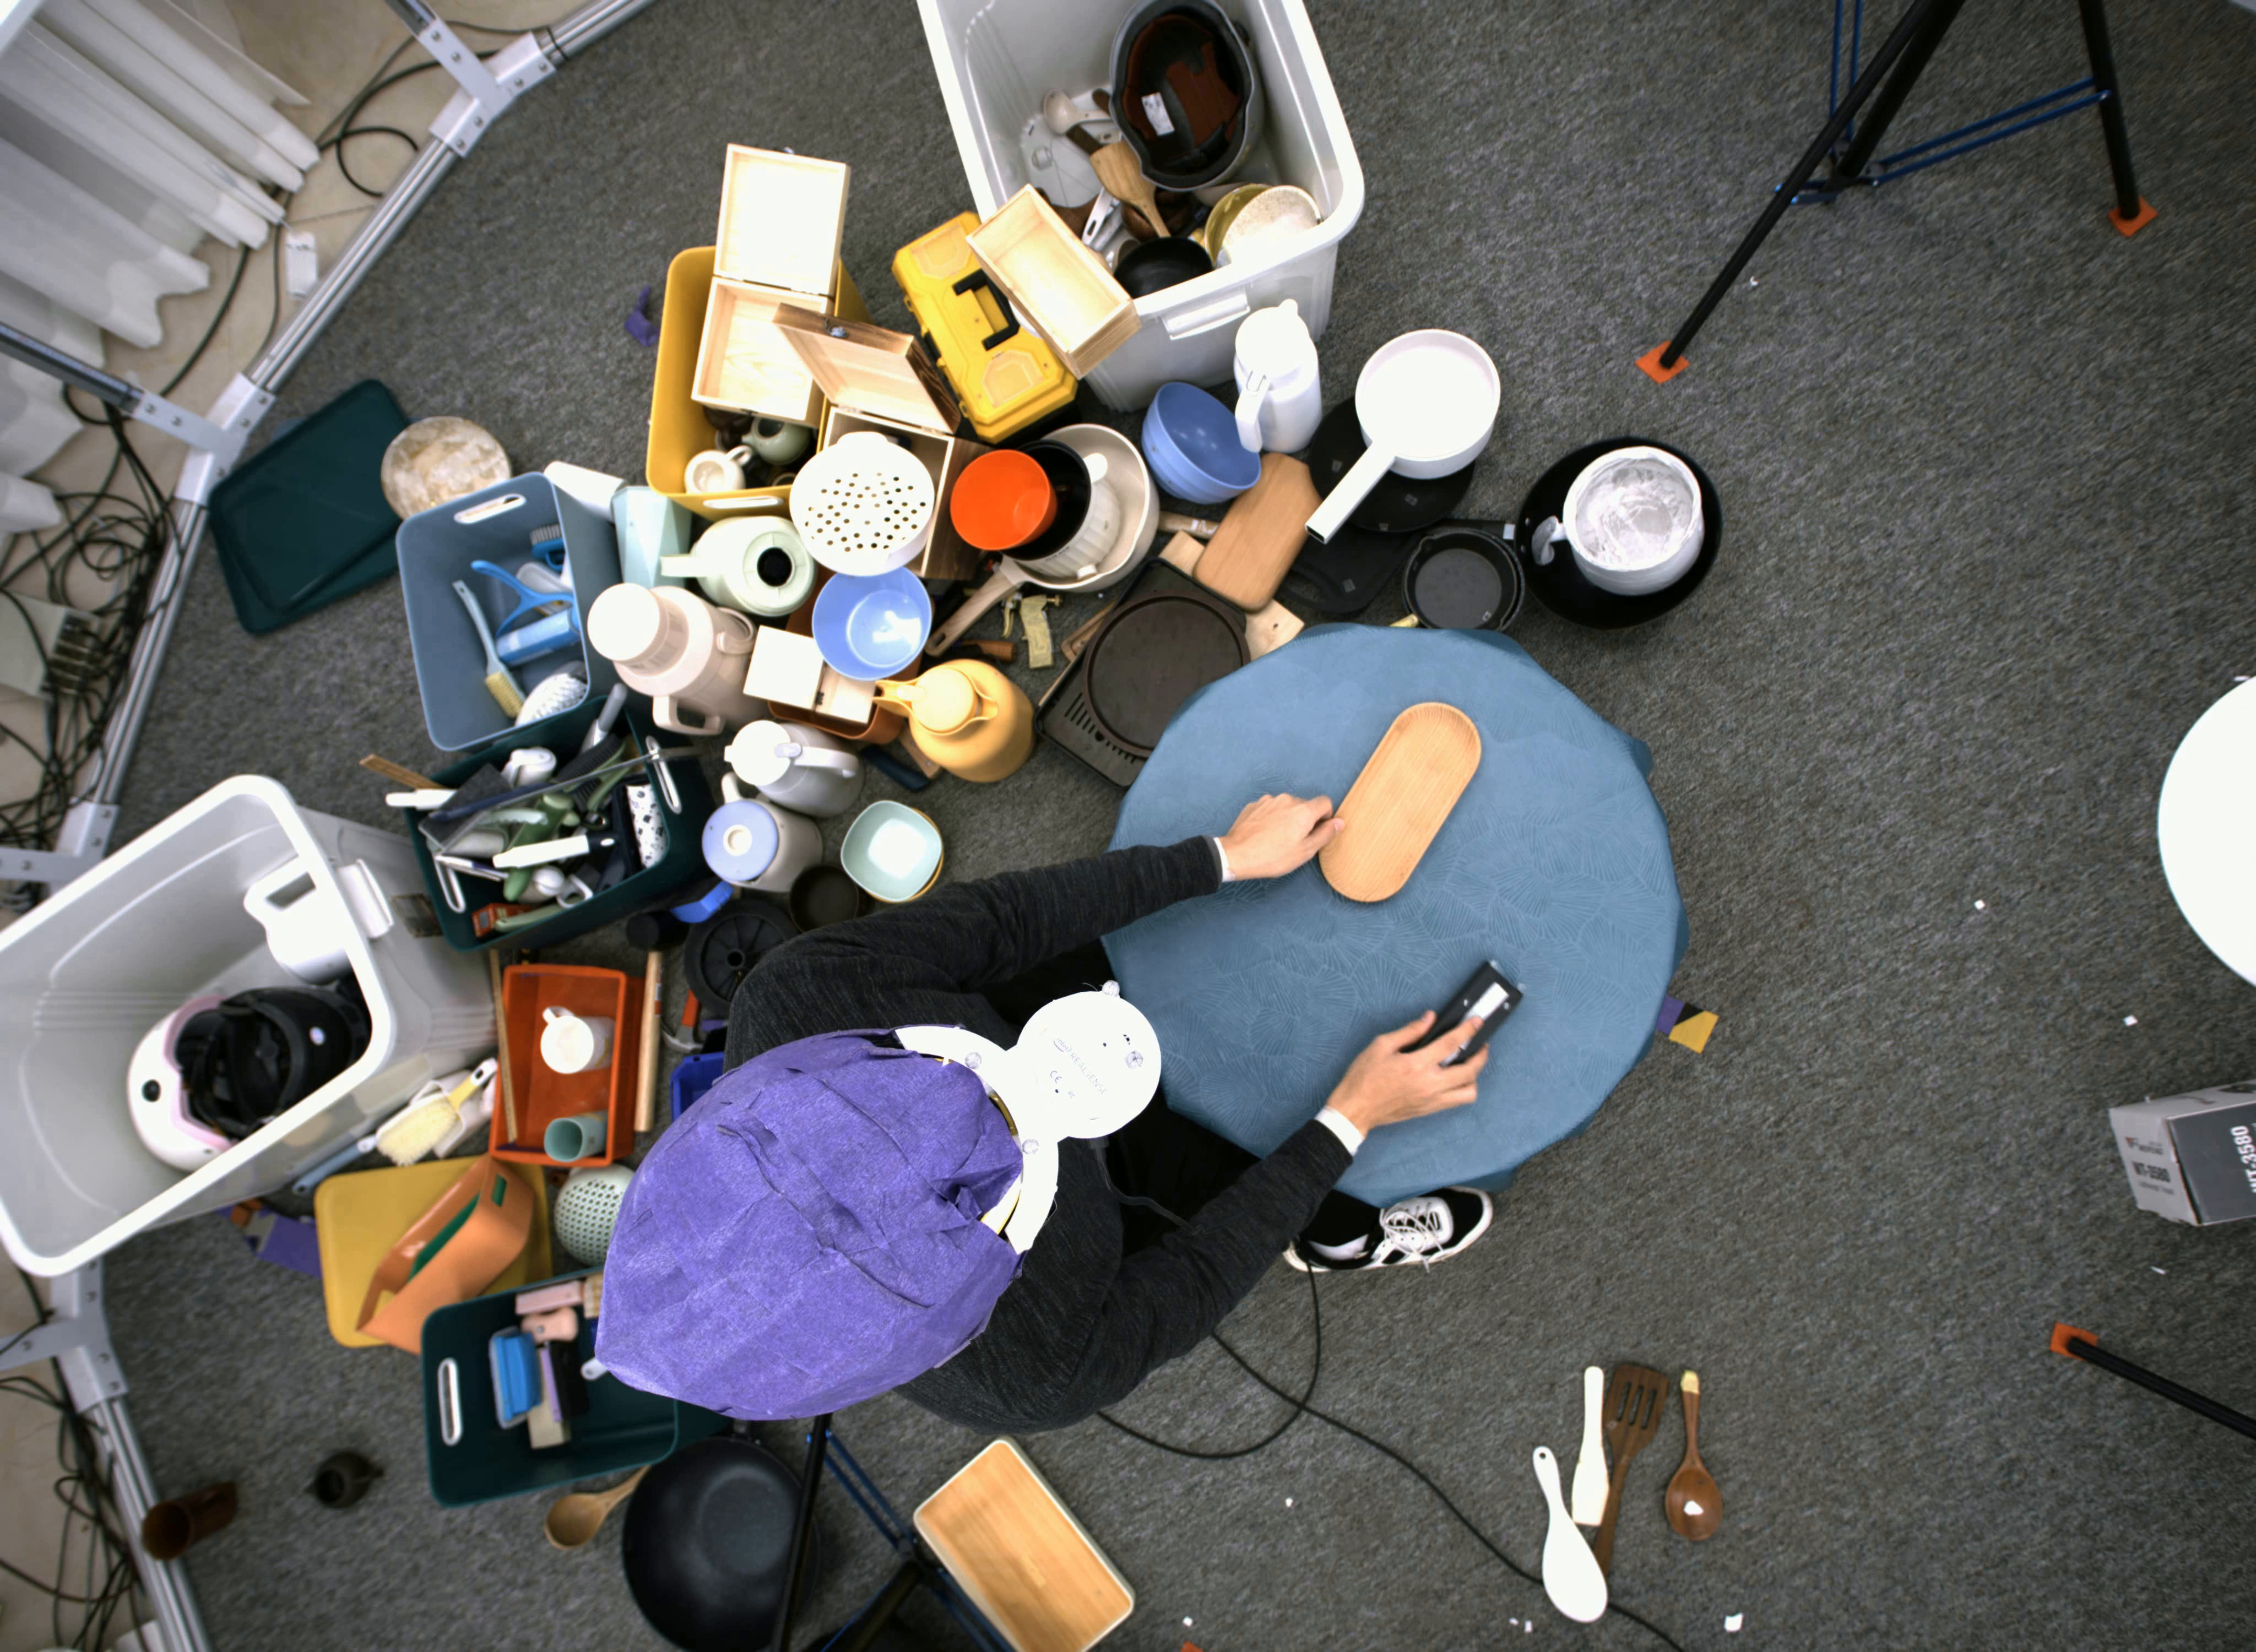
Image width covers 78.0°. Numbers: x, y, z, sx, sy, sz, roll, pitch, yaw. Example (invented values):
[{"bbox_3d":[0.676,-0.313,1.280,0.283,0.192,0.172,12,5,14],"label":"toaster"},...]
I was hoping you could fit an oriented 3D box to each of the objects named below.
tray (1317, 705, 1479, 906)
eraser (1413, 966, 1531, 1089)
[{"bbox_3d":[0.284,-0.023,1.451,0.101,0.020,0.231,32,93,9],"label":"tray"},{"bbox_3d":[0.351,0.203,1.413,0.053,0.030,0.126,41,95,4],"label":"eraser"}]
